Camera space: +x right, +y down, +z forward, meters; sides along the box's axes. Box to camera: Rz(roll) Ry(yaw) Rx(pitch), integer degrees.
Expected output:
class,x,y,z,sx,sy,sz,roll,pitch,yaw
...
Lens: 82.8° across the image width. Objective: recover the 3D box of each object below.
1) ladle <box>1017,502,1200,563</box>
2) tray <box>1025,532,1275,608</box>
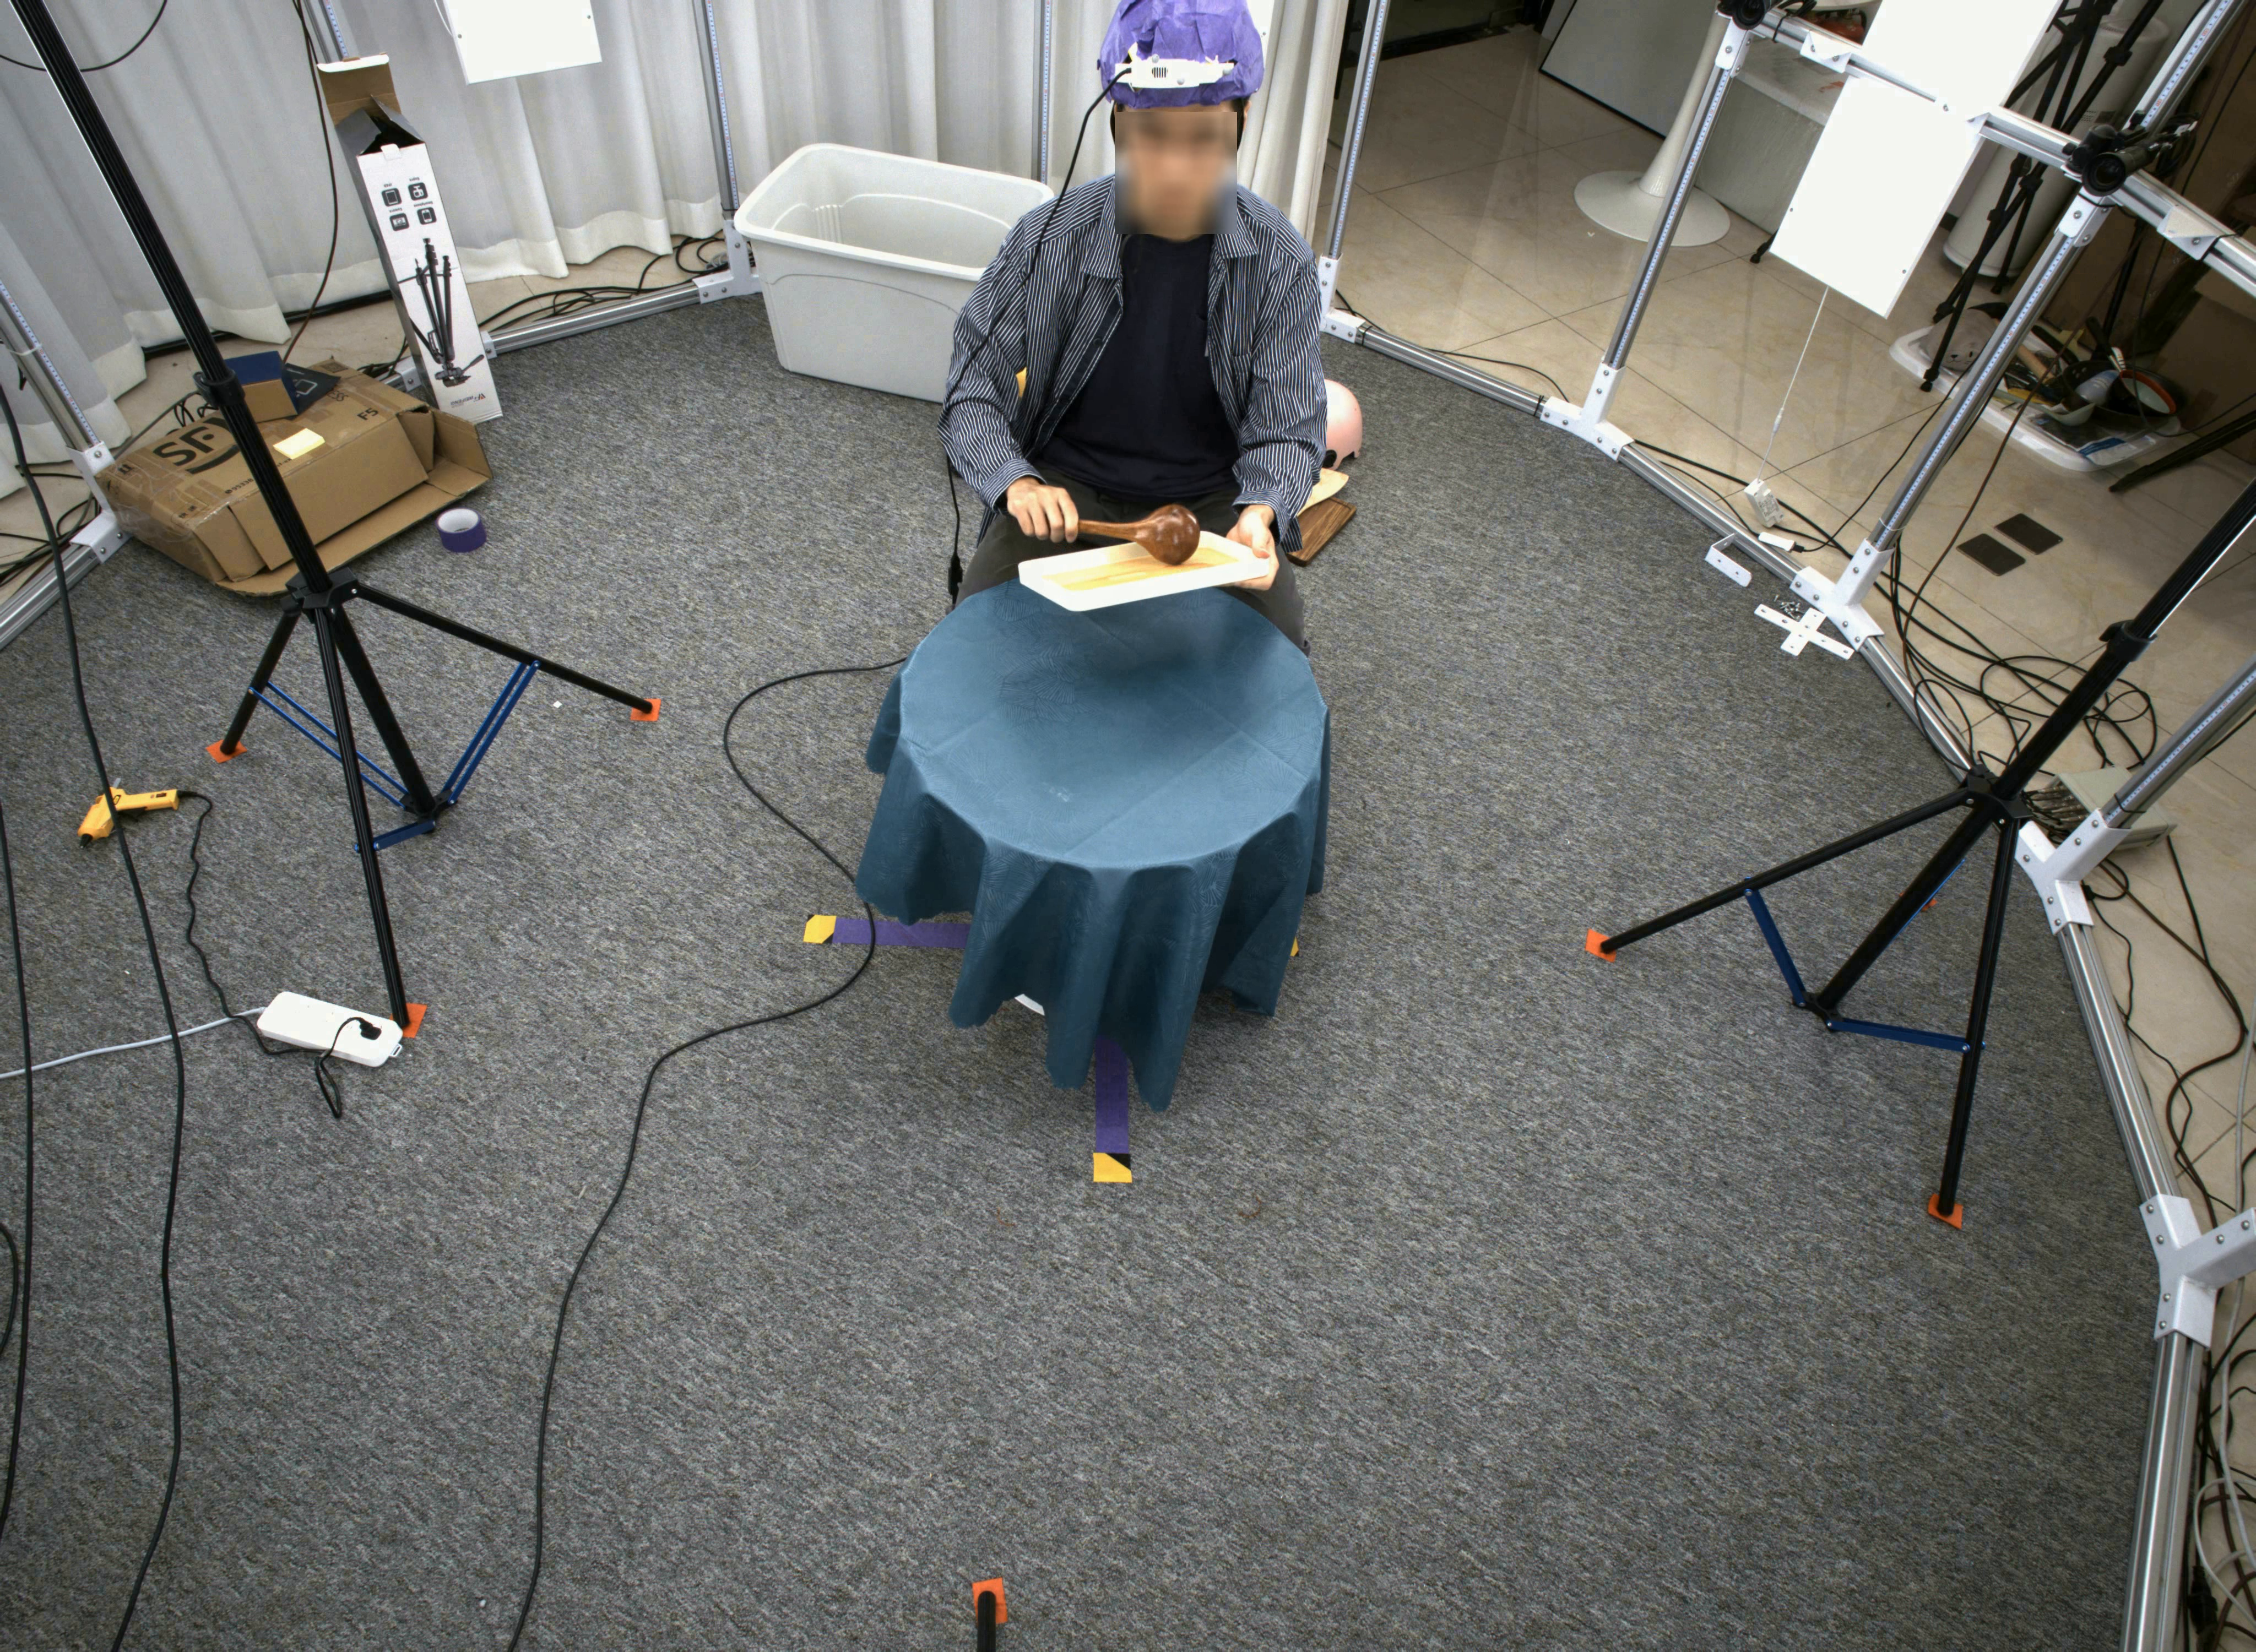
class,x,y,z,sx,sy,sz,roll,pitch,yaw
ladle,-0.027,-0.422,1.828,0.276,0.081,0.076,11,8,32
tray,0.029,-0.351,1.747,0.300,0.027,0.195,-14,27,-23
